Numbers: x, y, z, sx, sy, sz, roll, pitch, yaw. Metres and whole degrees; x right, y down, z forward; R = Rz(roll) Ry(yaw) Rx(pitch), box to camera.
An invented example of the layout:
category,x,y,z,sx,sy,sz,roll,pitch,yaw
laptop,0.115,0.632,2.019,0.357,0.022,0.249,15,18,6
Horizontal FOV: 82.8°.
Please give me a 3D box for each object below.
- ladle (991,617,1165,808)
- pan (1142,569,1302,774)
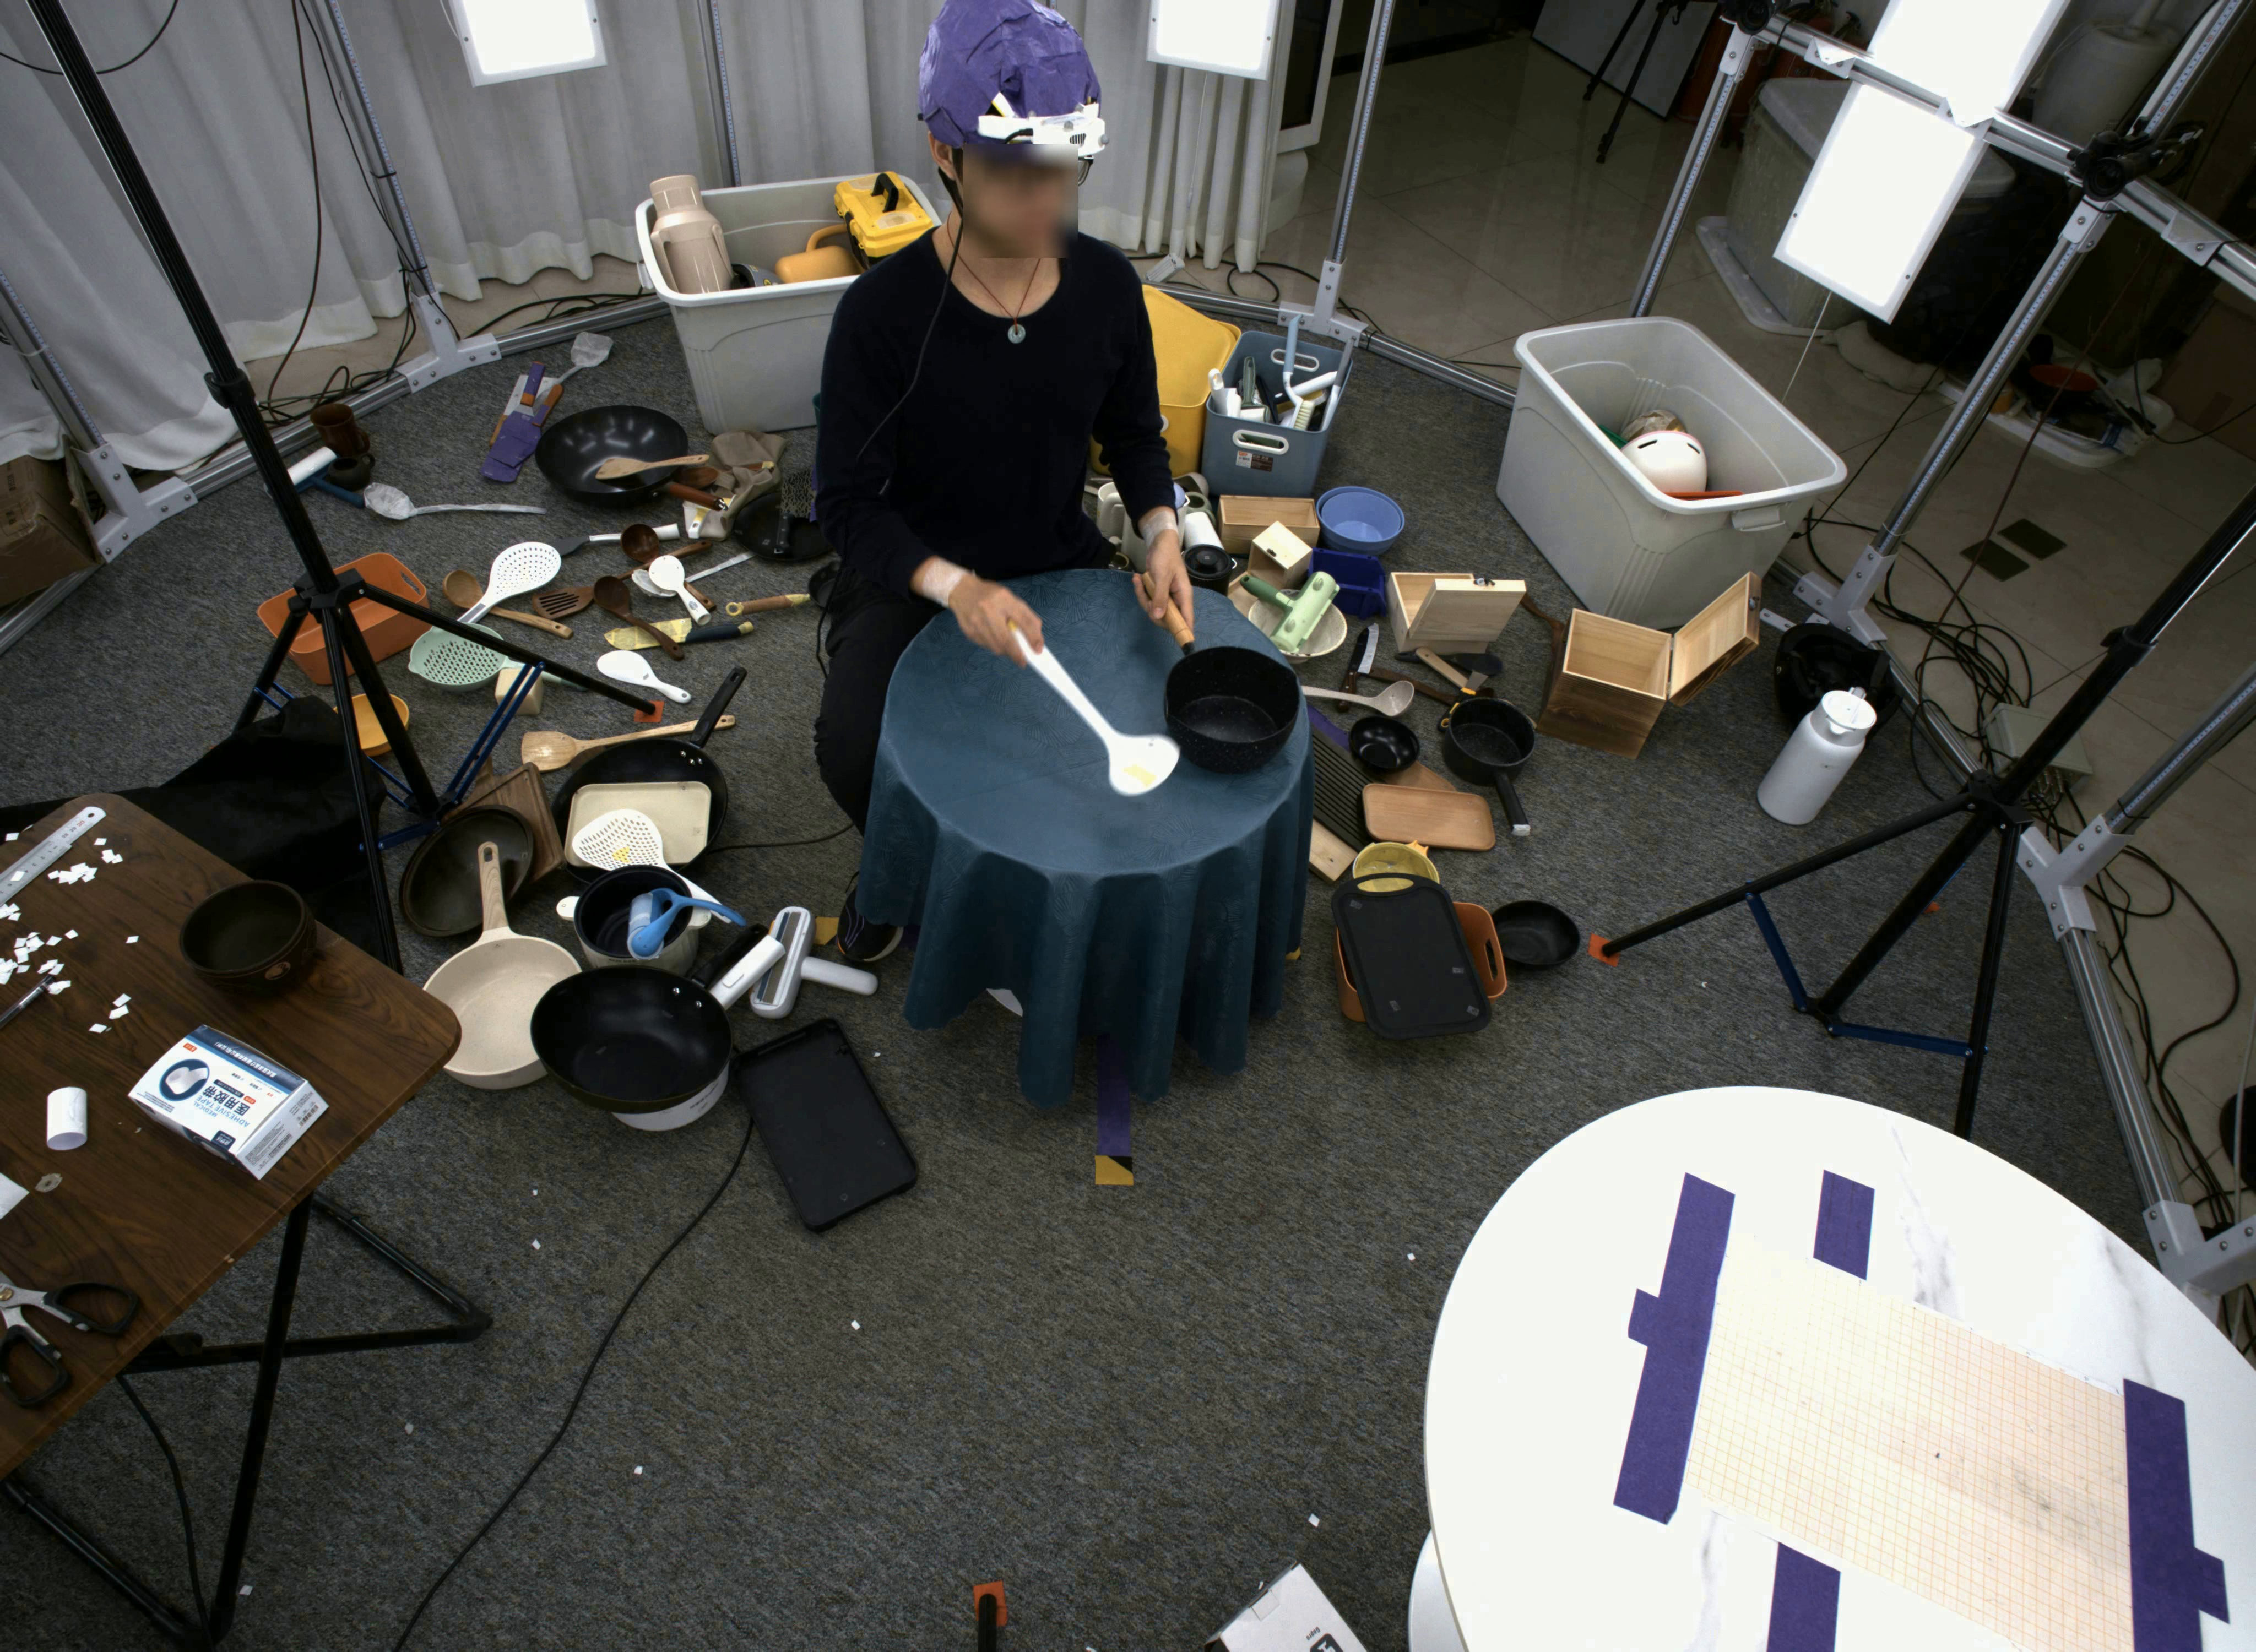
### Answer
category,x,y,z,sx,sy,sz,roll,pitch,yaw
ladle,-0.069,-0.148,1.619,0.090,0.070,0.293,-40,88,-3
pan,0.102,-0.217,1.794,0.208,0.105,0.350,-21,55,-19
